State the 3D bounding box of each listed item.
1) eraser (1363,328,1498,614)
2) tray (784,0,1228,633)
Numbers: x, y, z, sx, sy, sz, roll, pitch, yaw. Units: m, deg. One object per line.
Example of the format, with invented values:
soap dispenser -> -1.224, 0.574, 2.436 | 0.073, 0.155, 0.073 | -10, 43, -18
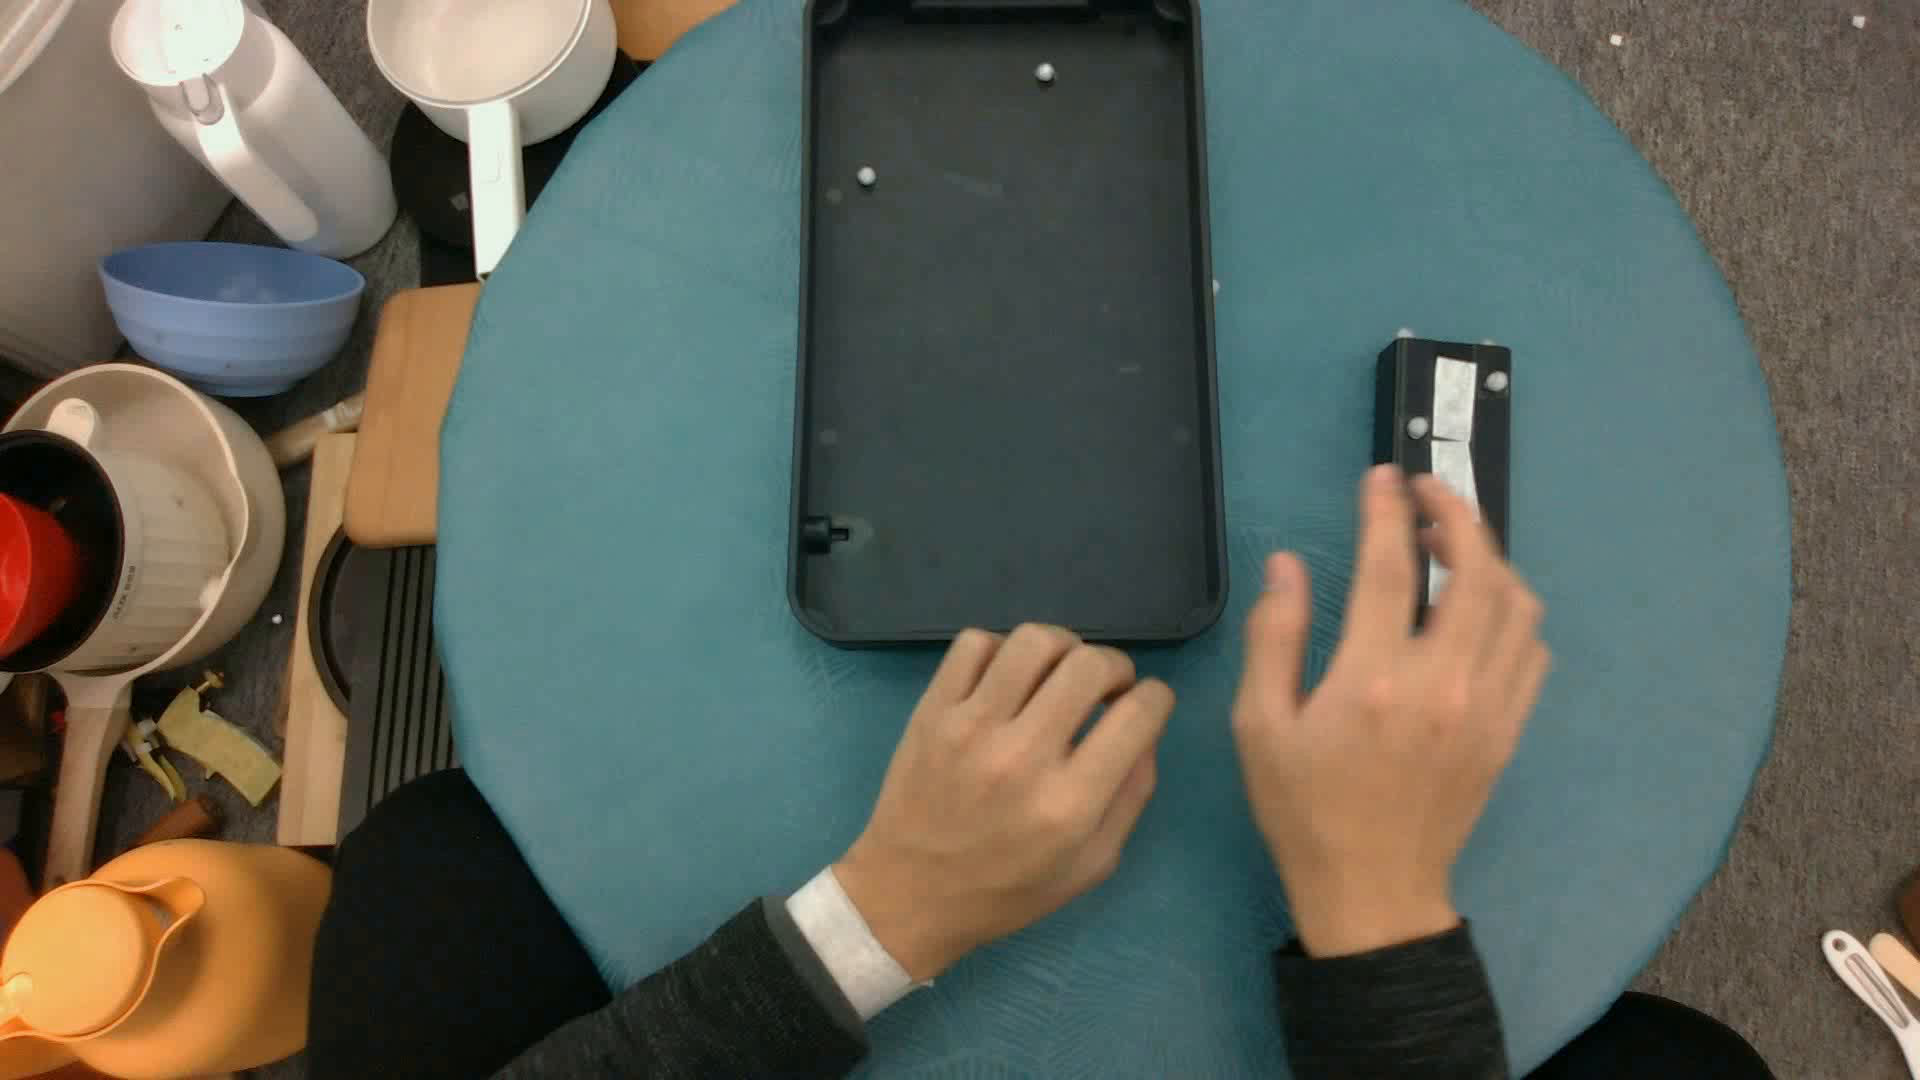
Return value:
eraser -> 0.205, -0.031, 0.601 | 0.053, 0.030, 0.126 | 4, 76, 3
tray -> 0.015, -0.117, 0.621 | 0.184, 0.037, 0.318 | -2, 75, -1
